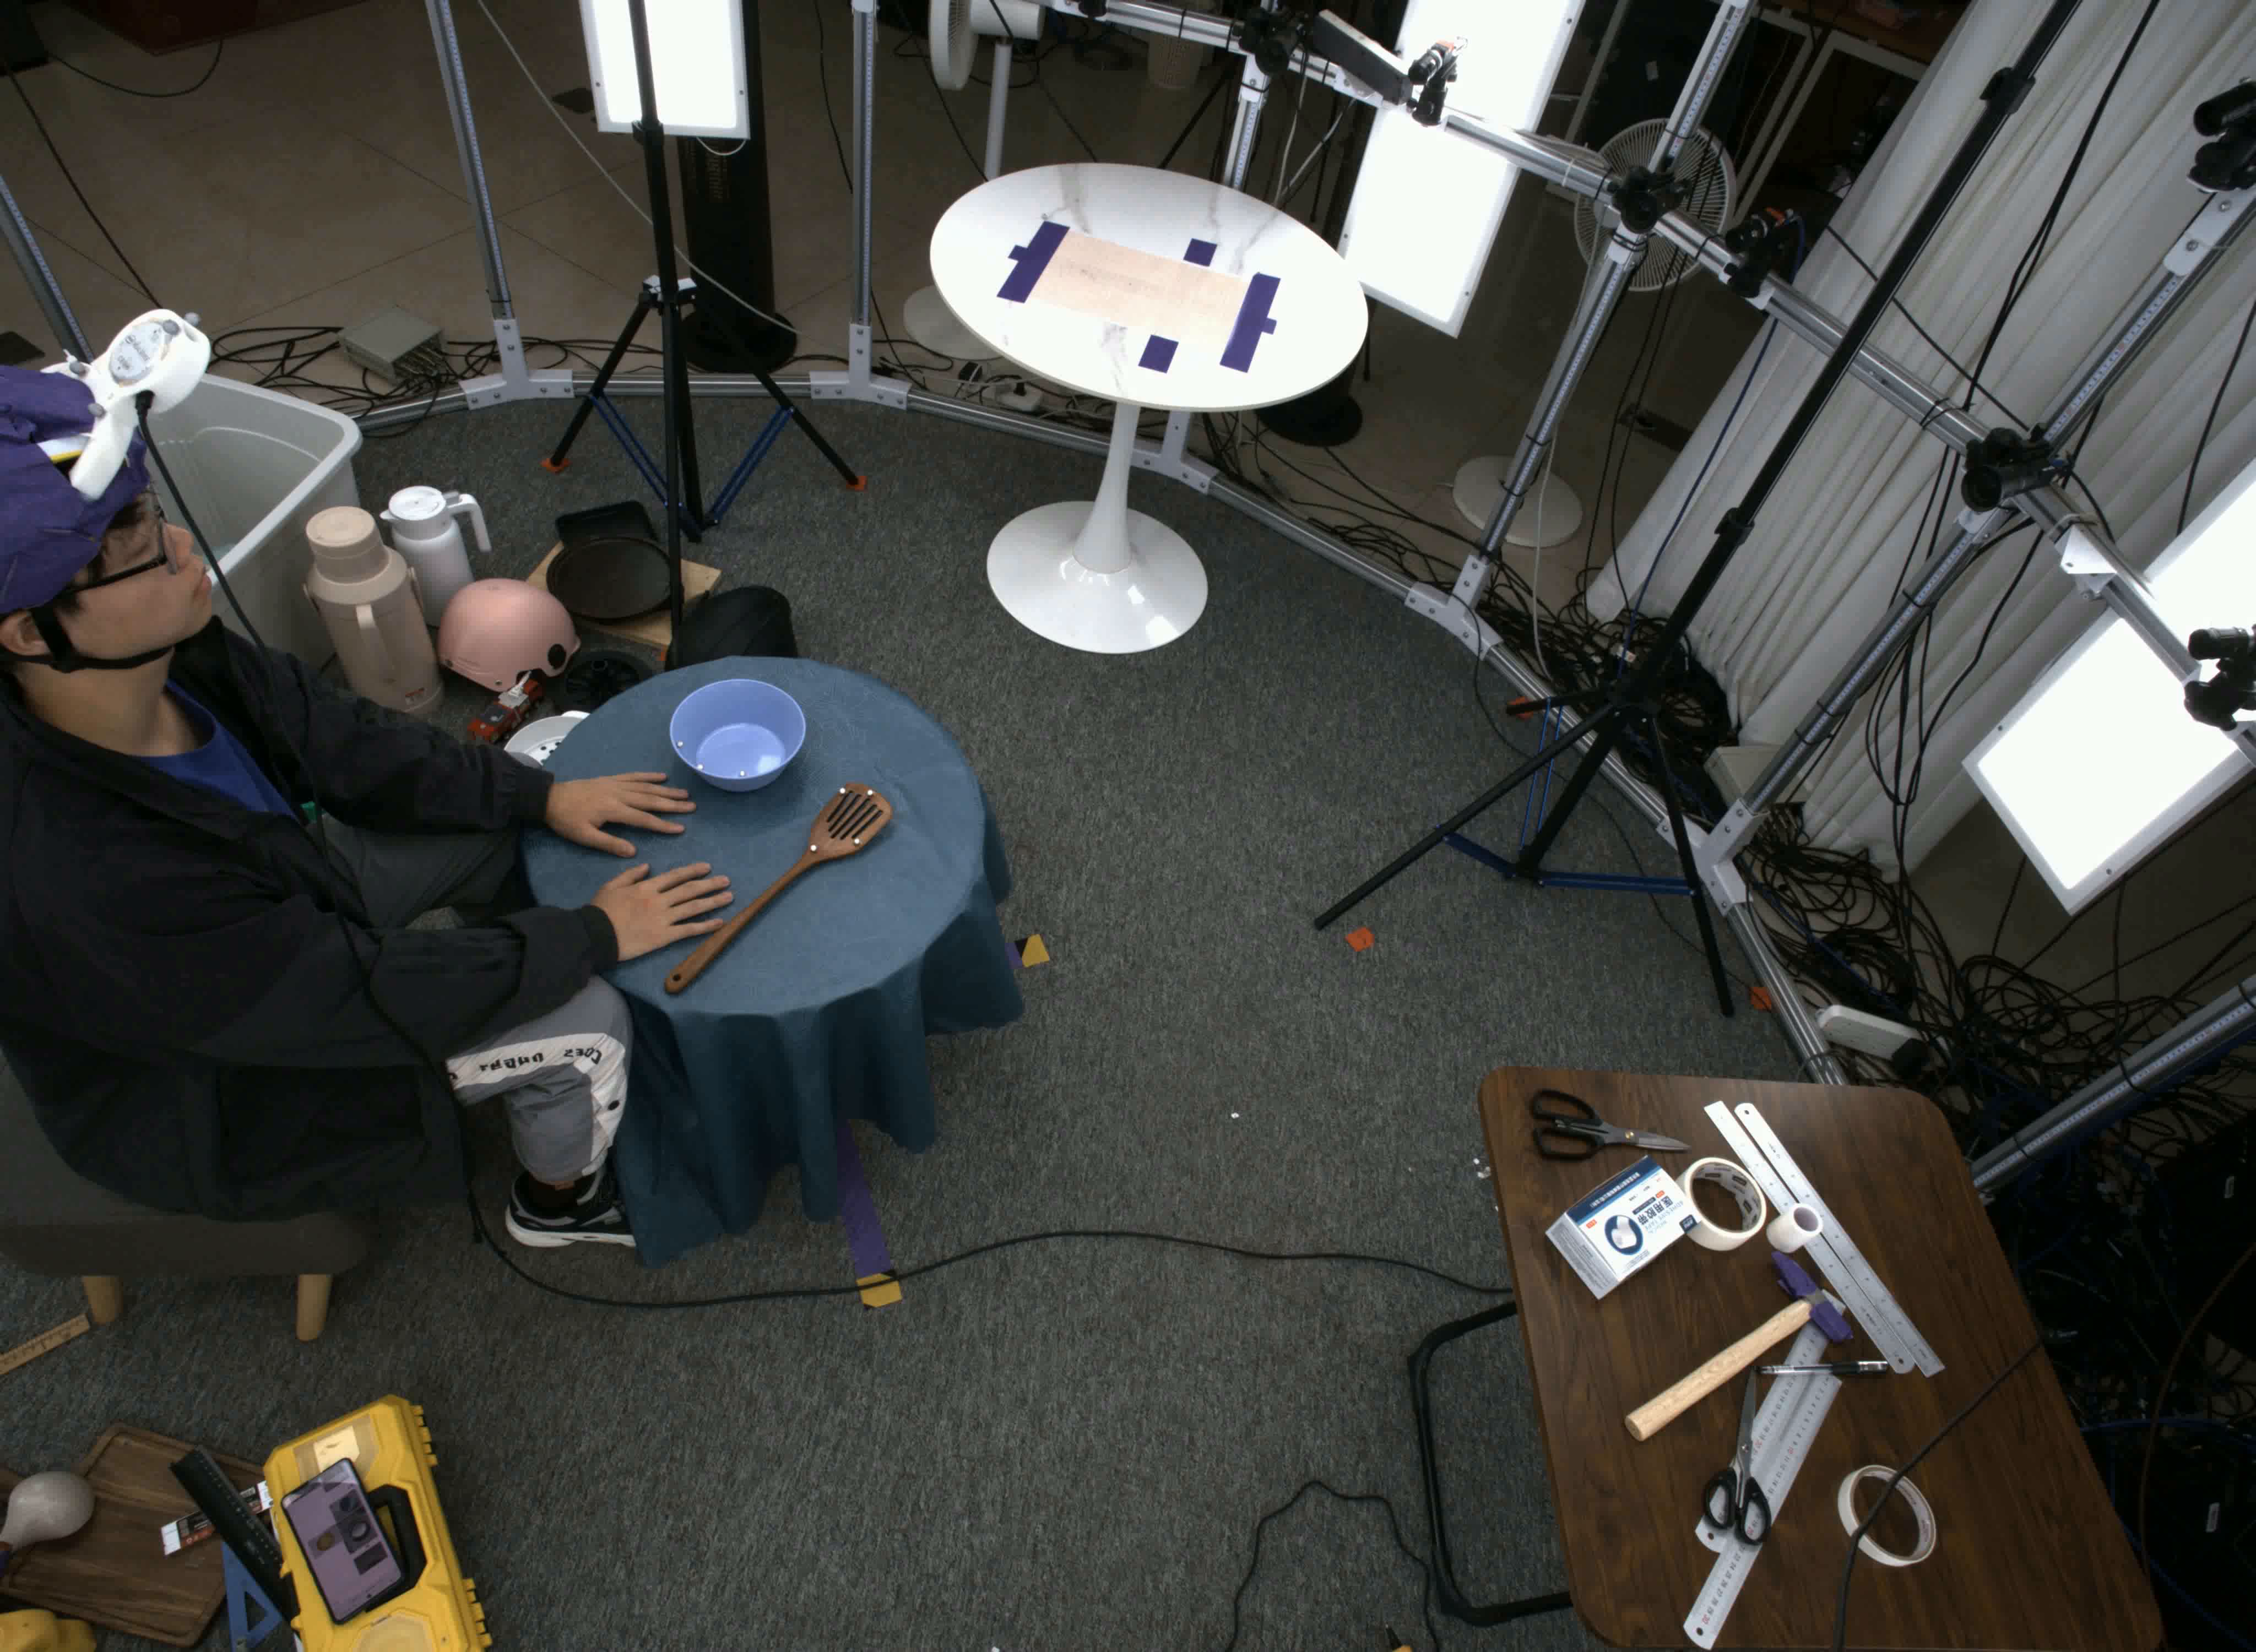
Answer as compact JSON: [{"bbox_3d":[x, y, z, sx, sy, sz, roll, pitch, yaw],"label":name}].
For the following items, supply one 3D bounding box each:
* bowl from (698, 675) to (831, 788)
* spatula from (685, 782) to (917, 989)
[{"bbox_3d":[-0.492,-0.118,1.759,0.175,0.072,0.173,7,53,-7],"label":"bowl"},{"bbox_3d":[-0.421,0.075,1.666,0.084,0.024,0.386,35,55,13],"label":"spatula"}]
